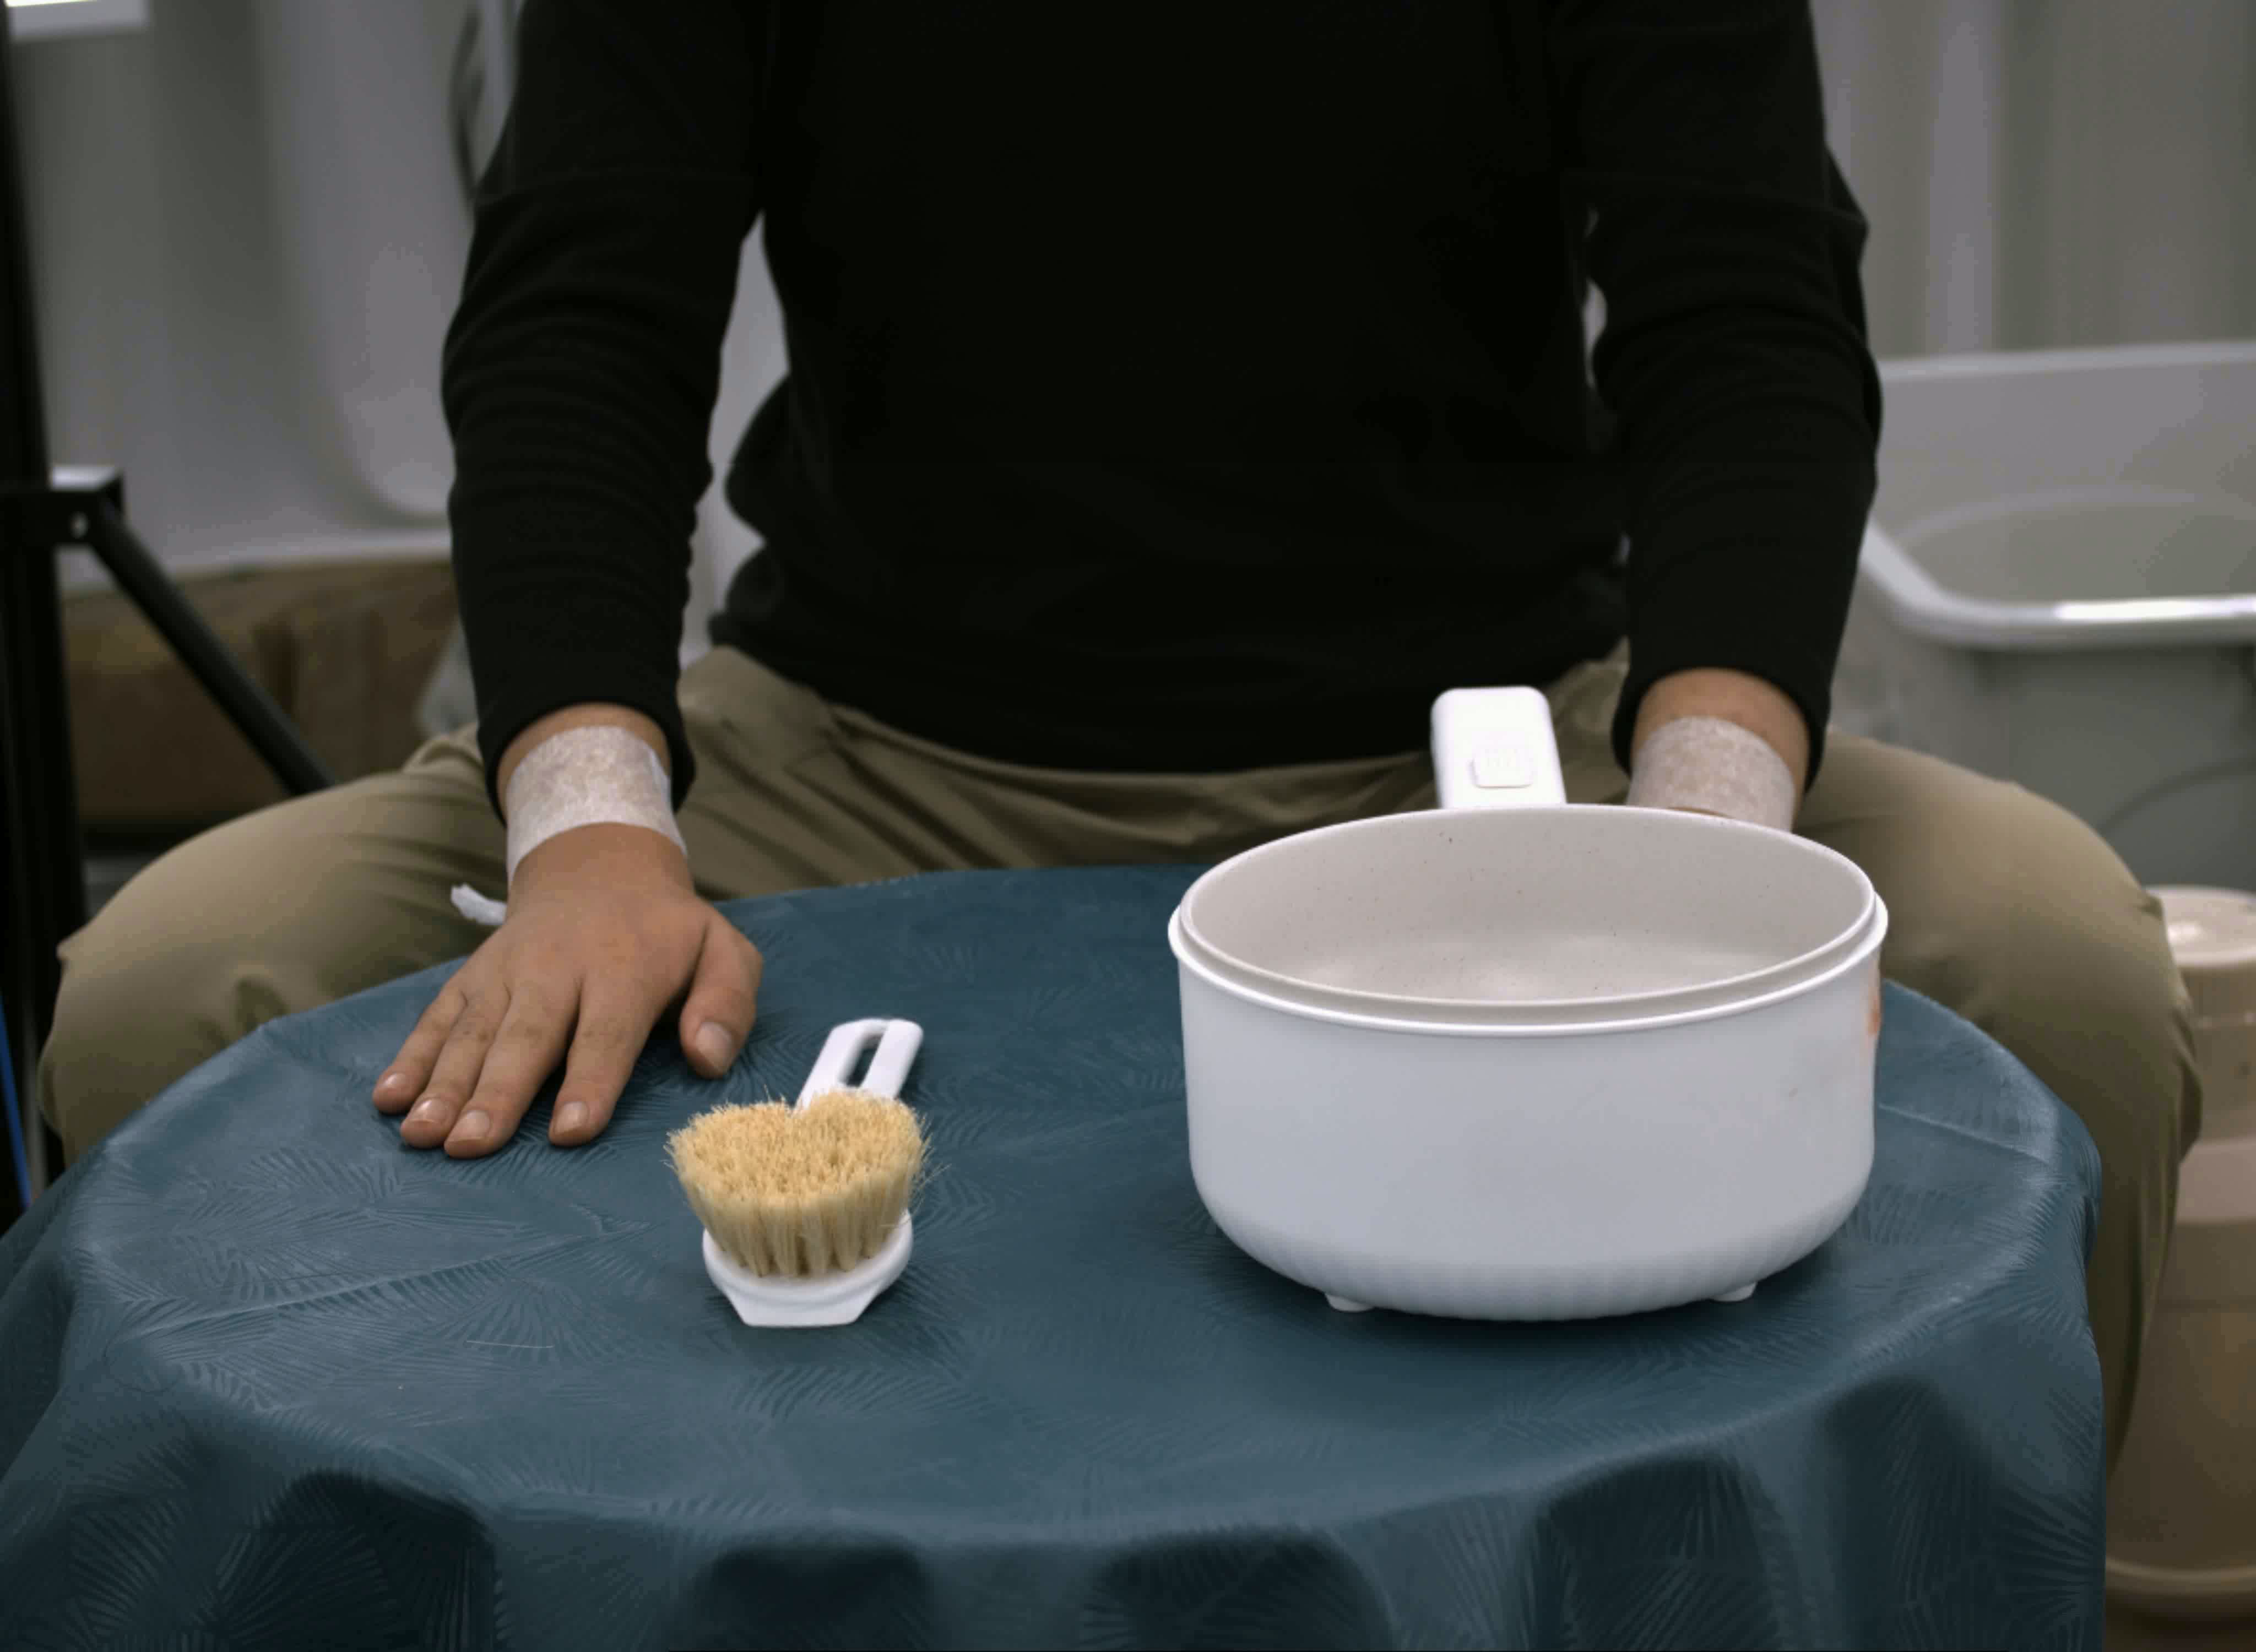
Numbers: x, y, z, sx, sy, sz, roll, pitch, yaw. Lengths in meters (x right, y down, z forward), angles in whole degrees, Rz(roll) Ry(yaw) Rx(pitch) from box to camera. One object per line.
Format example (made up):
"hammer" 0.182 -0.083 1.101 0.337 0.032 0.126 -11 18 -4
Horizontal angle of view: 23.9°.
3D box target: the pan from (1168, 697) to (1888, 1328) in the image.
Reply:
"pan" 0.115 0.050 1.567 0.201 0.102 0.355 -3 15 3

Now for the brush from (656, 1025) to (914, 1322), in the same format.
"brush" -0.091 0.078 1.581 0.068 0.056 0.266 3 15 3
